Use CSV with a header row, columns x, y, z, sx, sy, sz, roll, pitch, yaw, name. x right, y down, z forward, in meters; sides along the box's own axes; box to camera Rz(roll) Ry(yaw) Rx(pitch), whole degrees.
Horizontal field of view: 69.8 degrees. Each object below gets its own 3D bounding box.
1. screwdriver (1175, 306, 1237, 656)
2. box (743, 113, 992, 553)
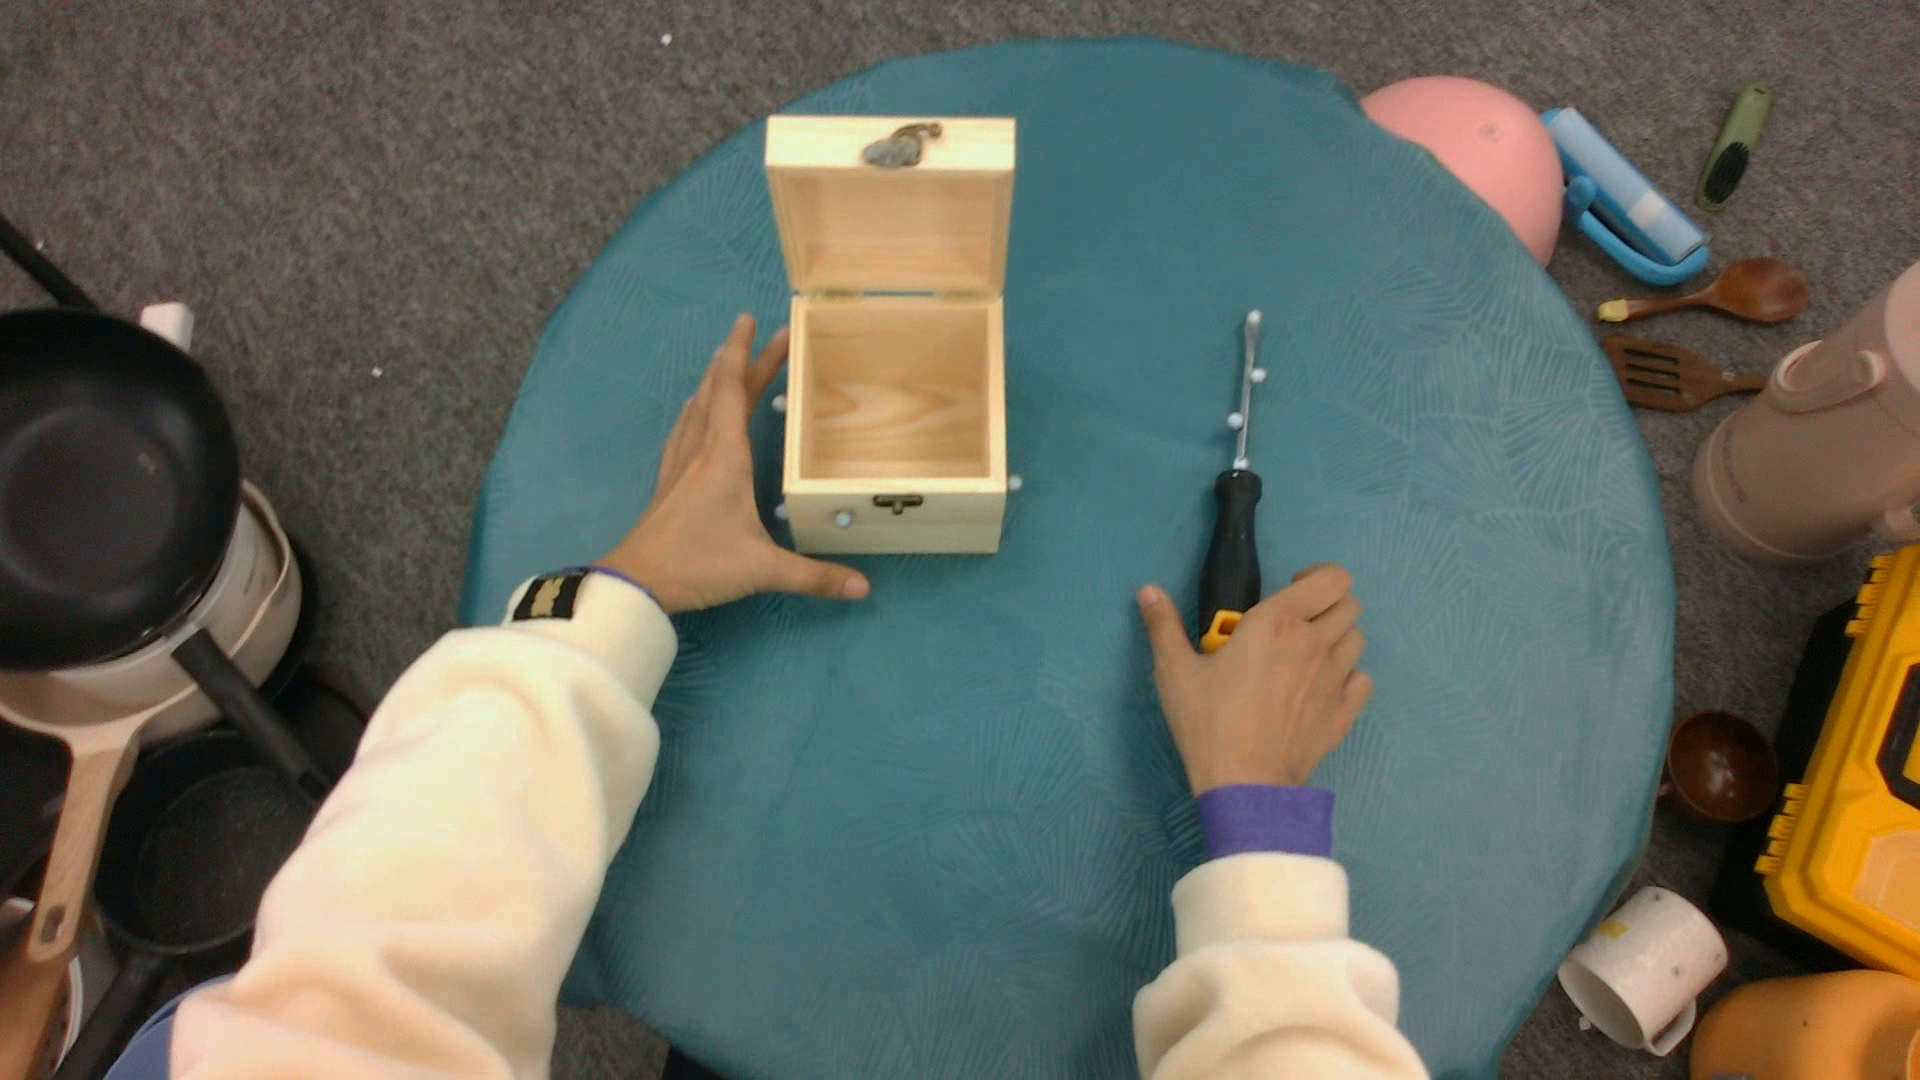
x,y,z,sx,sy,sz,roll,pitch,yaw,name
0.132,-0.035,0.697,0.031,0.031,0.198,11,66,2,screwdriver
-0.042,-0.083,0.621,0.102,0.184,0.134,0,68,-4,box
